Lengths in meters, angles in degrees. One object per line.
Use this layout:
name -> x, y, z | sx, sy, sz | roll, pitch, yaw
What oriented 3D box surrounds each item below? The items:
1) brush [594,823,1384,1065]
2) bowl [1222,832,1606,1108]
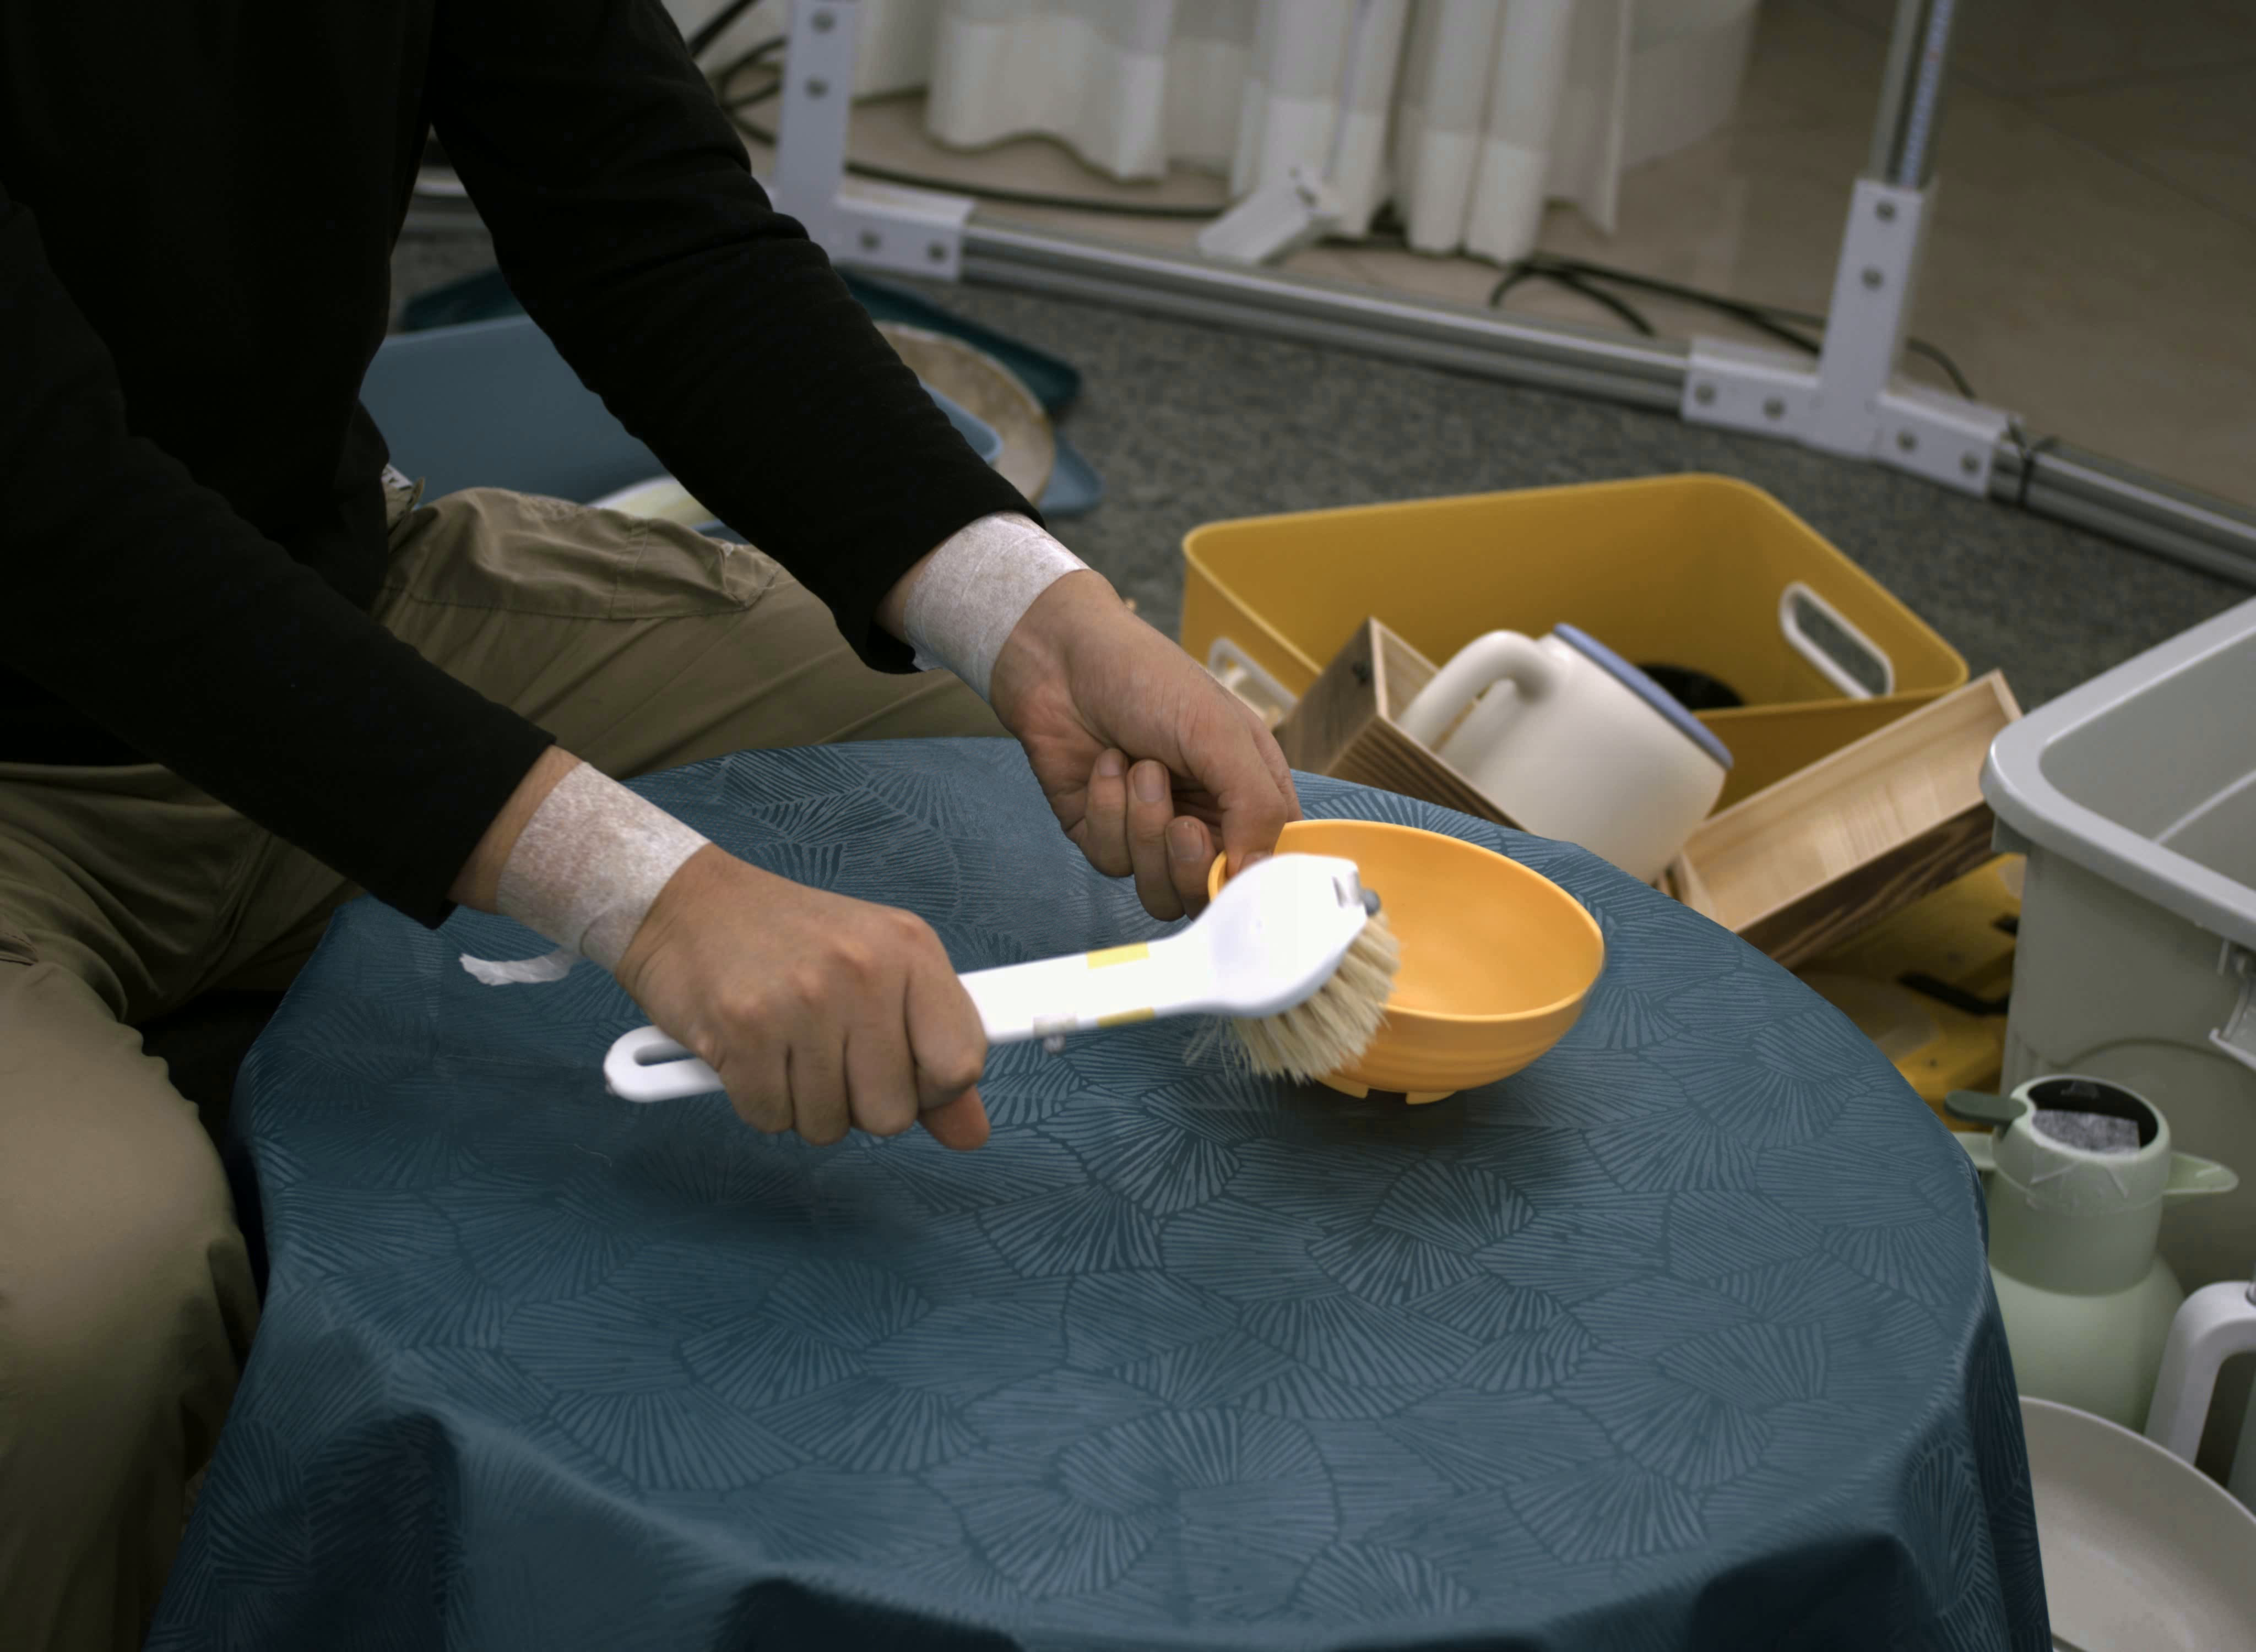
brush -> -0.045, 0.057, 1.779 | 0.265, 0.056, 0.069 | -14, 37, -7
bowl -> 0.093, 0.059, 1.882 | 0.145, 0.060, 0.146 | 8, 24, -4
